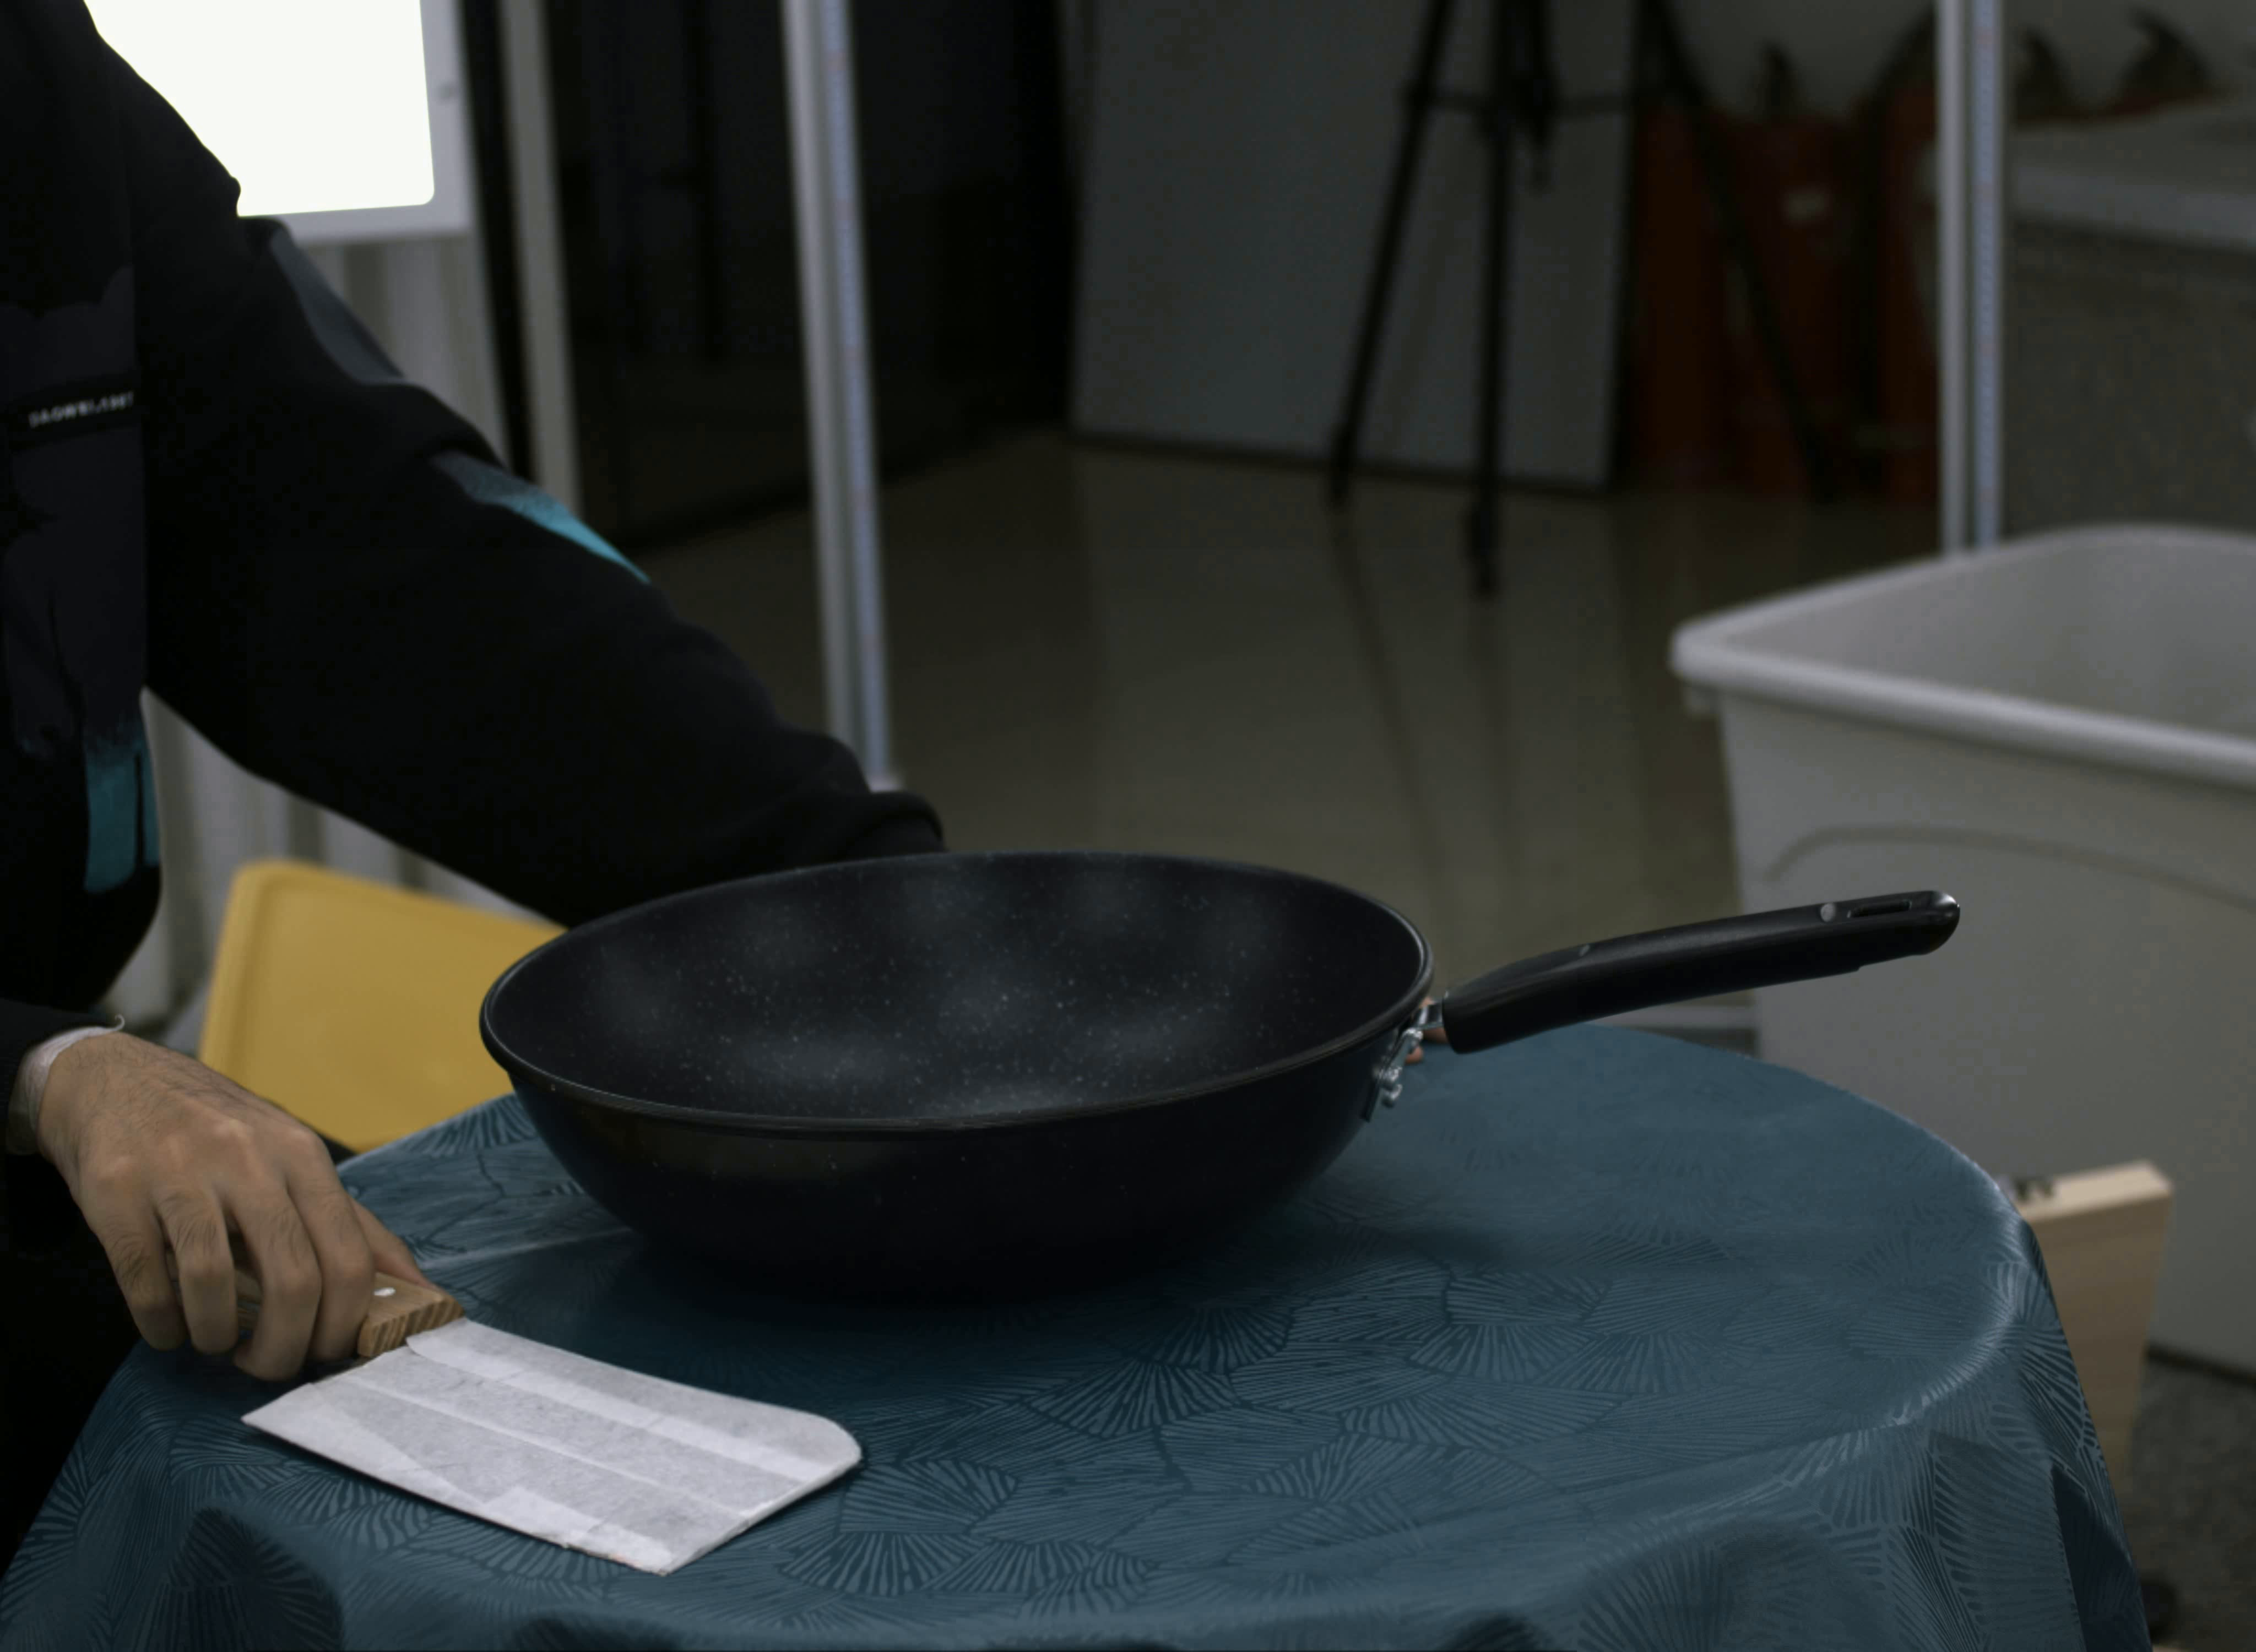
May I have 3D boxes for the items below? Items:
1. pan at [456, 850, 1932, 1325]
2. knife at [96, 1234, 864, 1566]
[{"bbox_3d":[0.020,0.079,1.715,0.474,0.113,0.308,-1,16,15],"label":"pan"},{"bbox_3d":[-0.204,0.167,1.609,0.112,0.022,0.318,-22,24,-39],"label":"knife"}]
